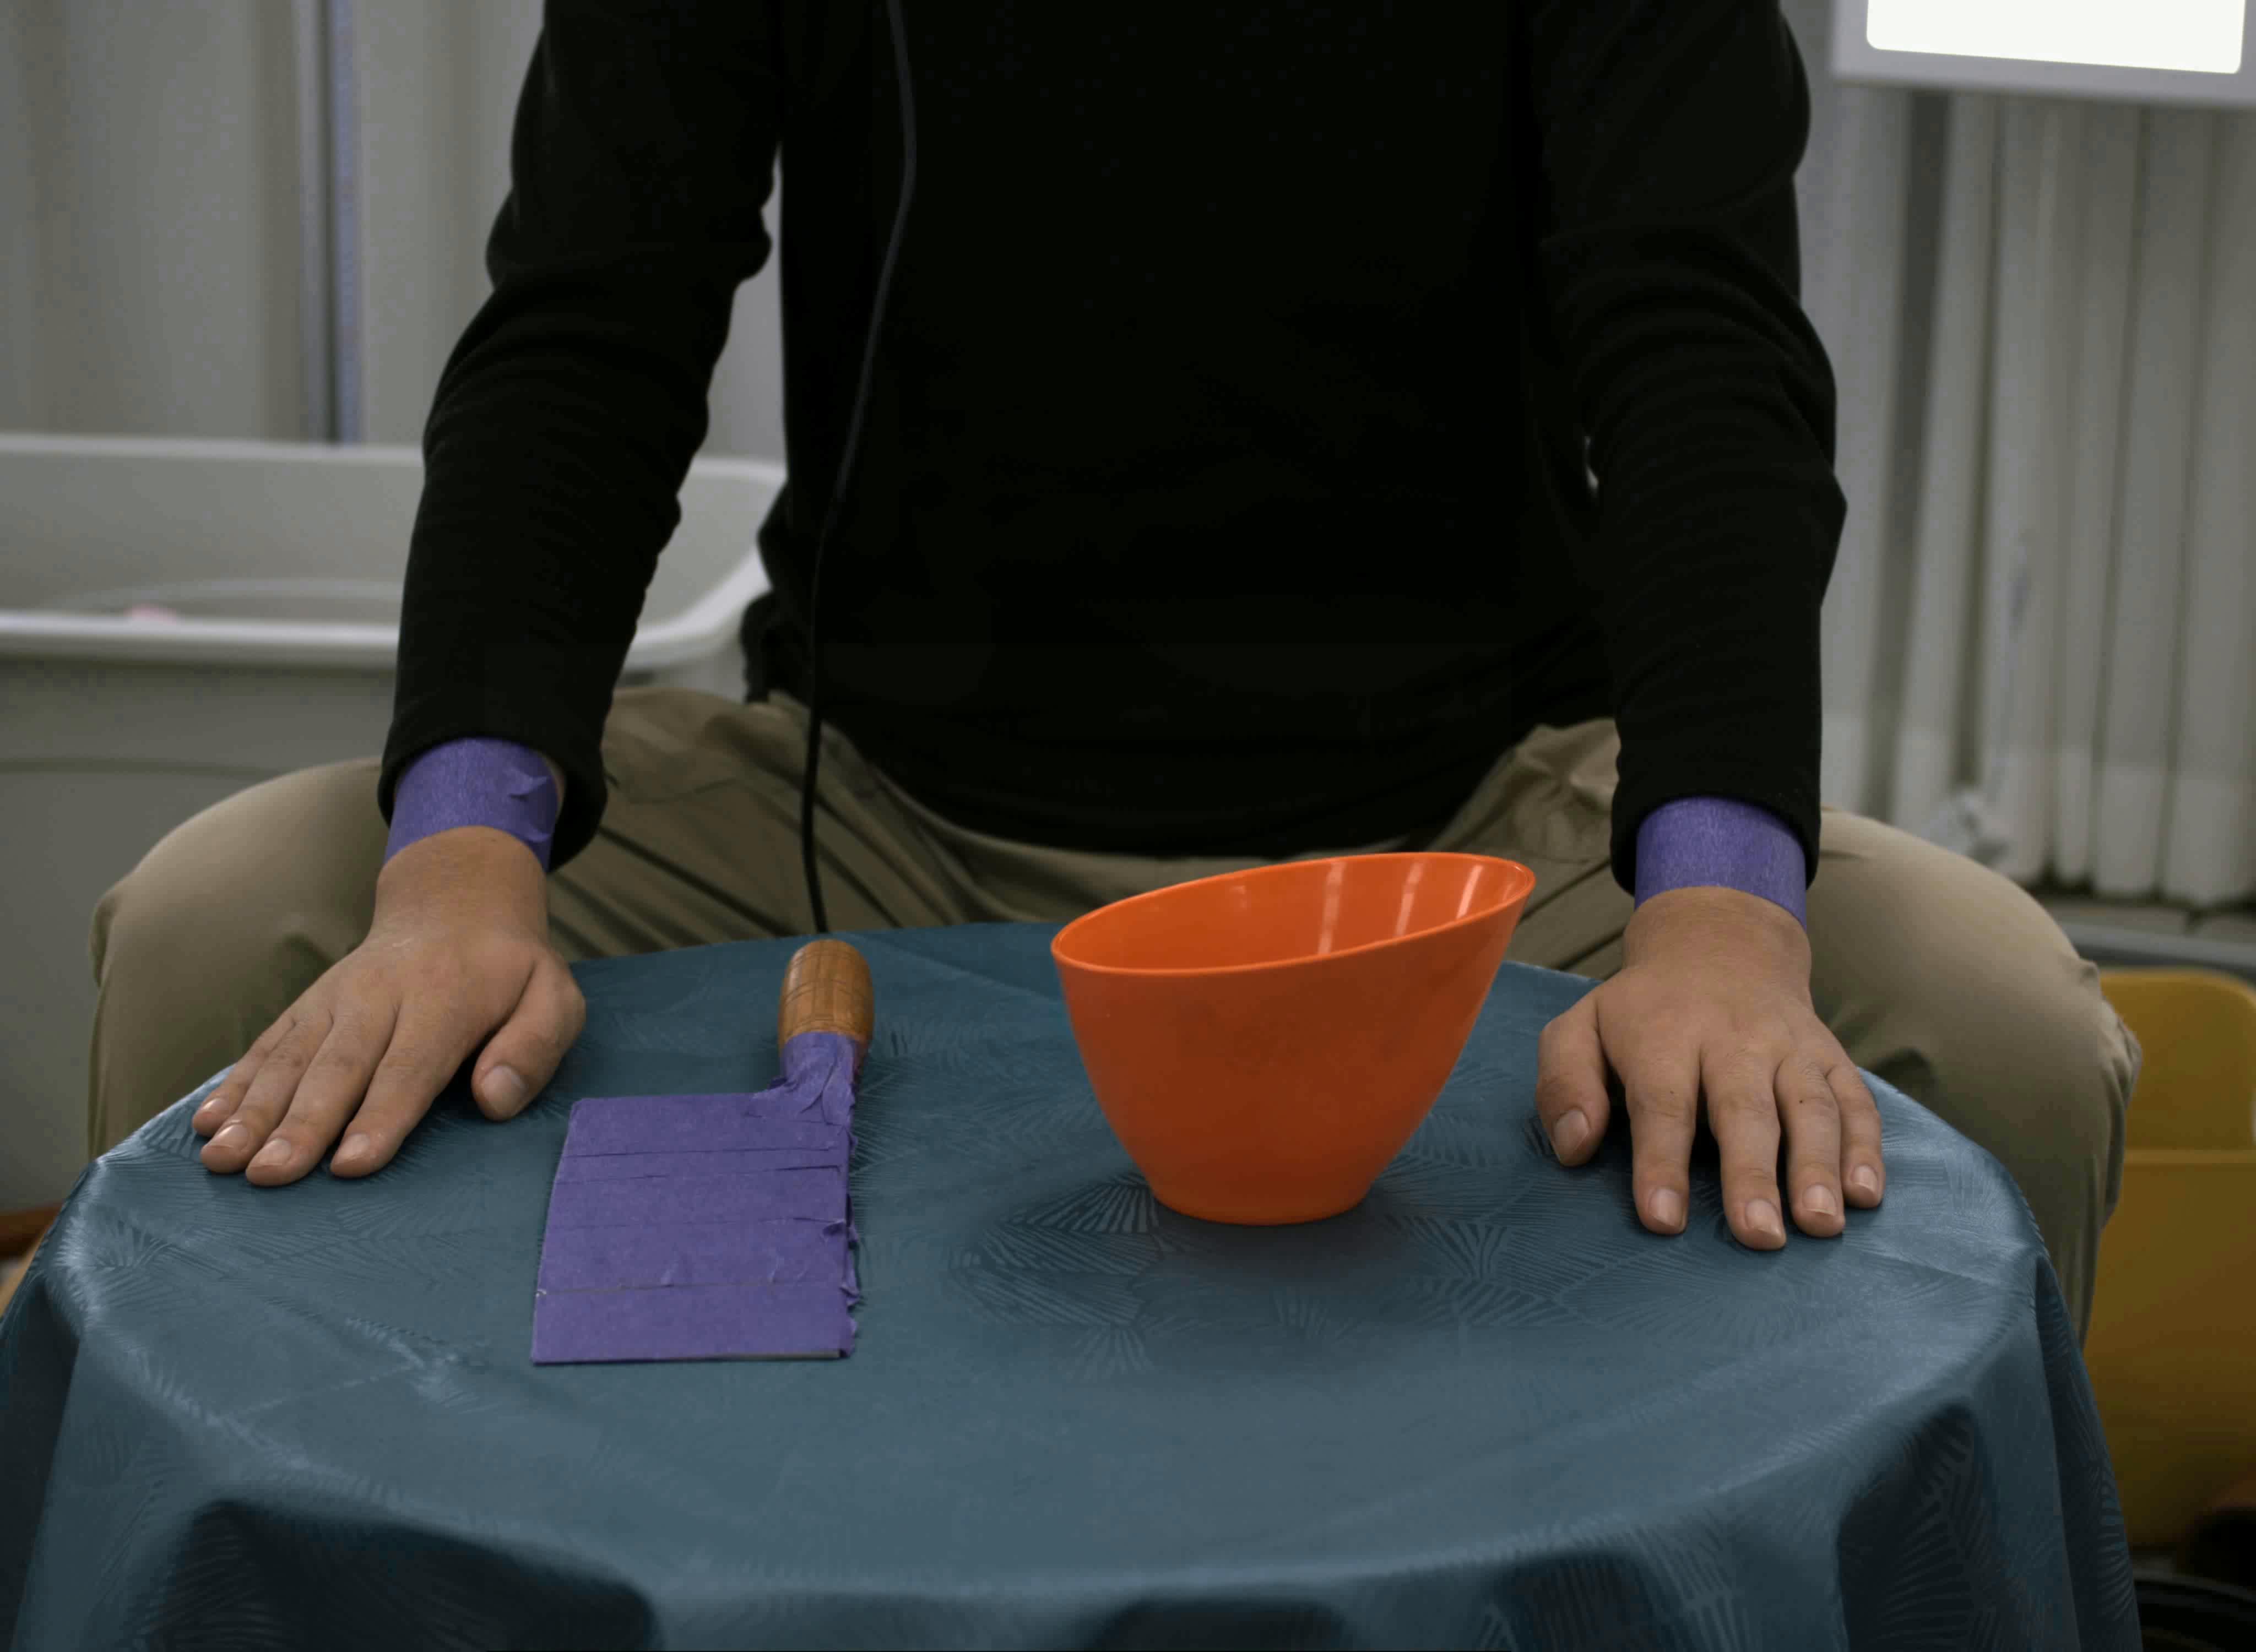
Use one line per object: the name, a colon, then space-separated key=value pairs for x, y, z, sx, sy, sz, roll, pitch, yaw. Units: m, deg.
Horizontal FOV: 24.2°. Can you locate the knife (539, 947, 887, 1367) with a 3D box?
knife: x=-0.127 y=0.098 z=1.621 sx=0.103 sy=0.032 sz=0.313 roll=0 pitch=16 yaw=-3

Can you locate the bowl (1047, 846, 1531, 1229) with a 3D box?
bowl: x=0.049 y=0.065 z=1.604 sx=0.147 sy=0.105 sz=0.147 roll=-1 pitch=17 yaw=1
